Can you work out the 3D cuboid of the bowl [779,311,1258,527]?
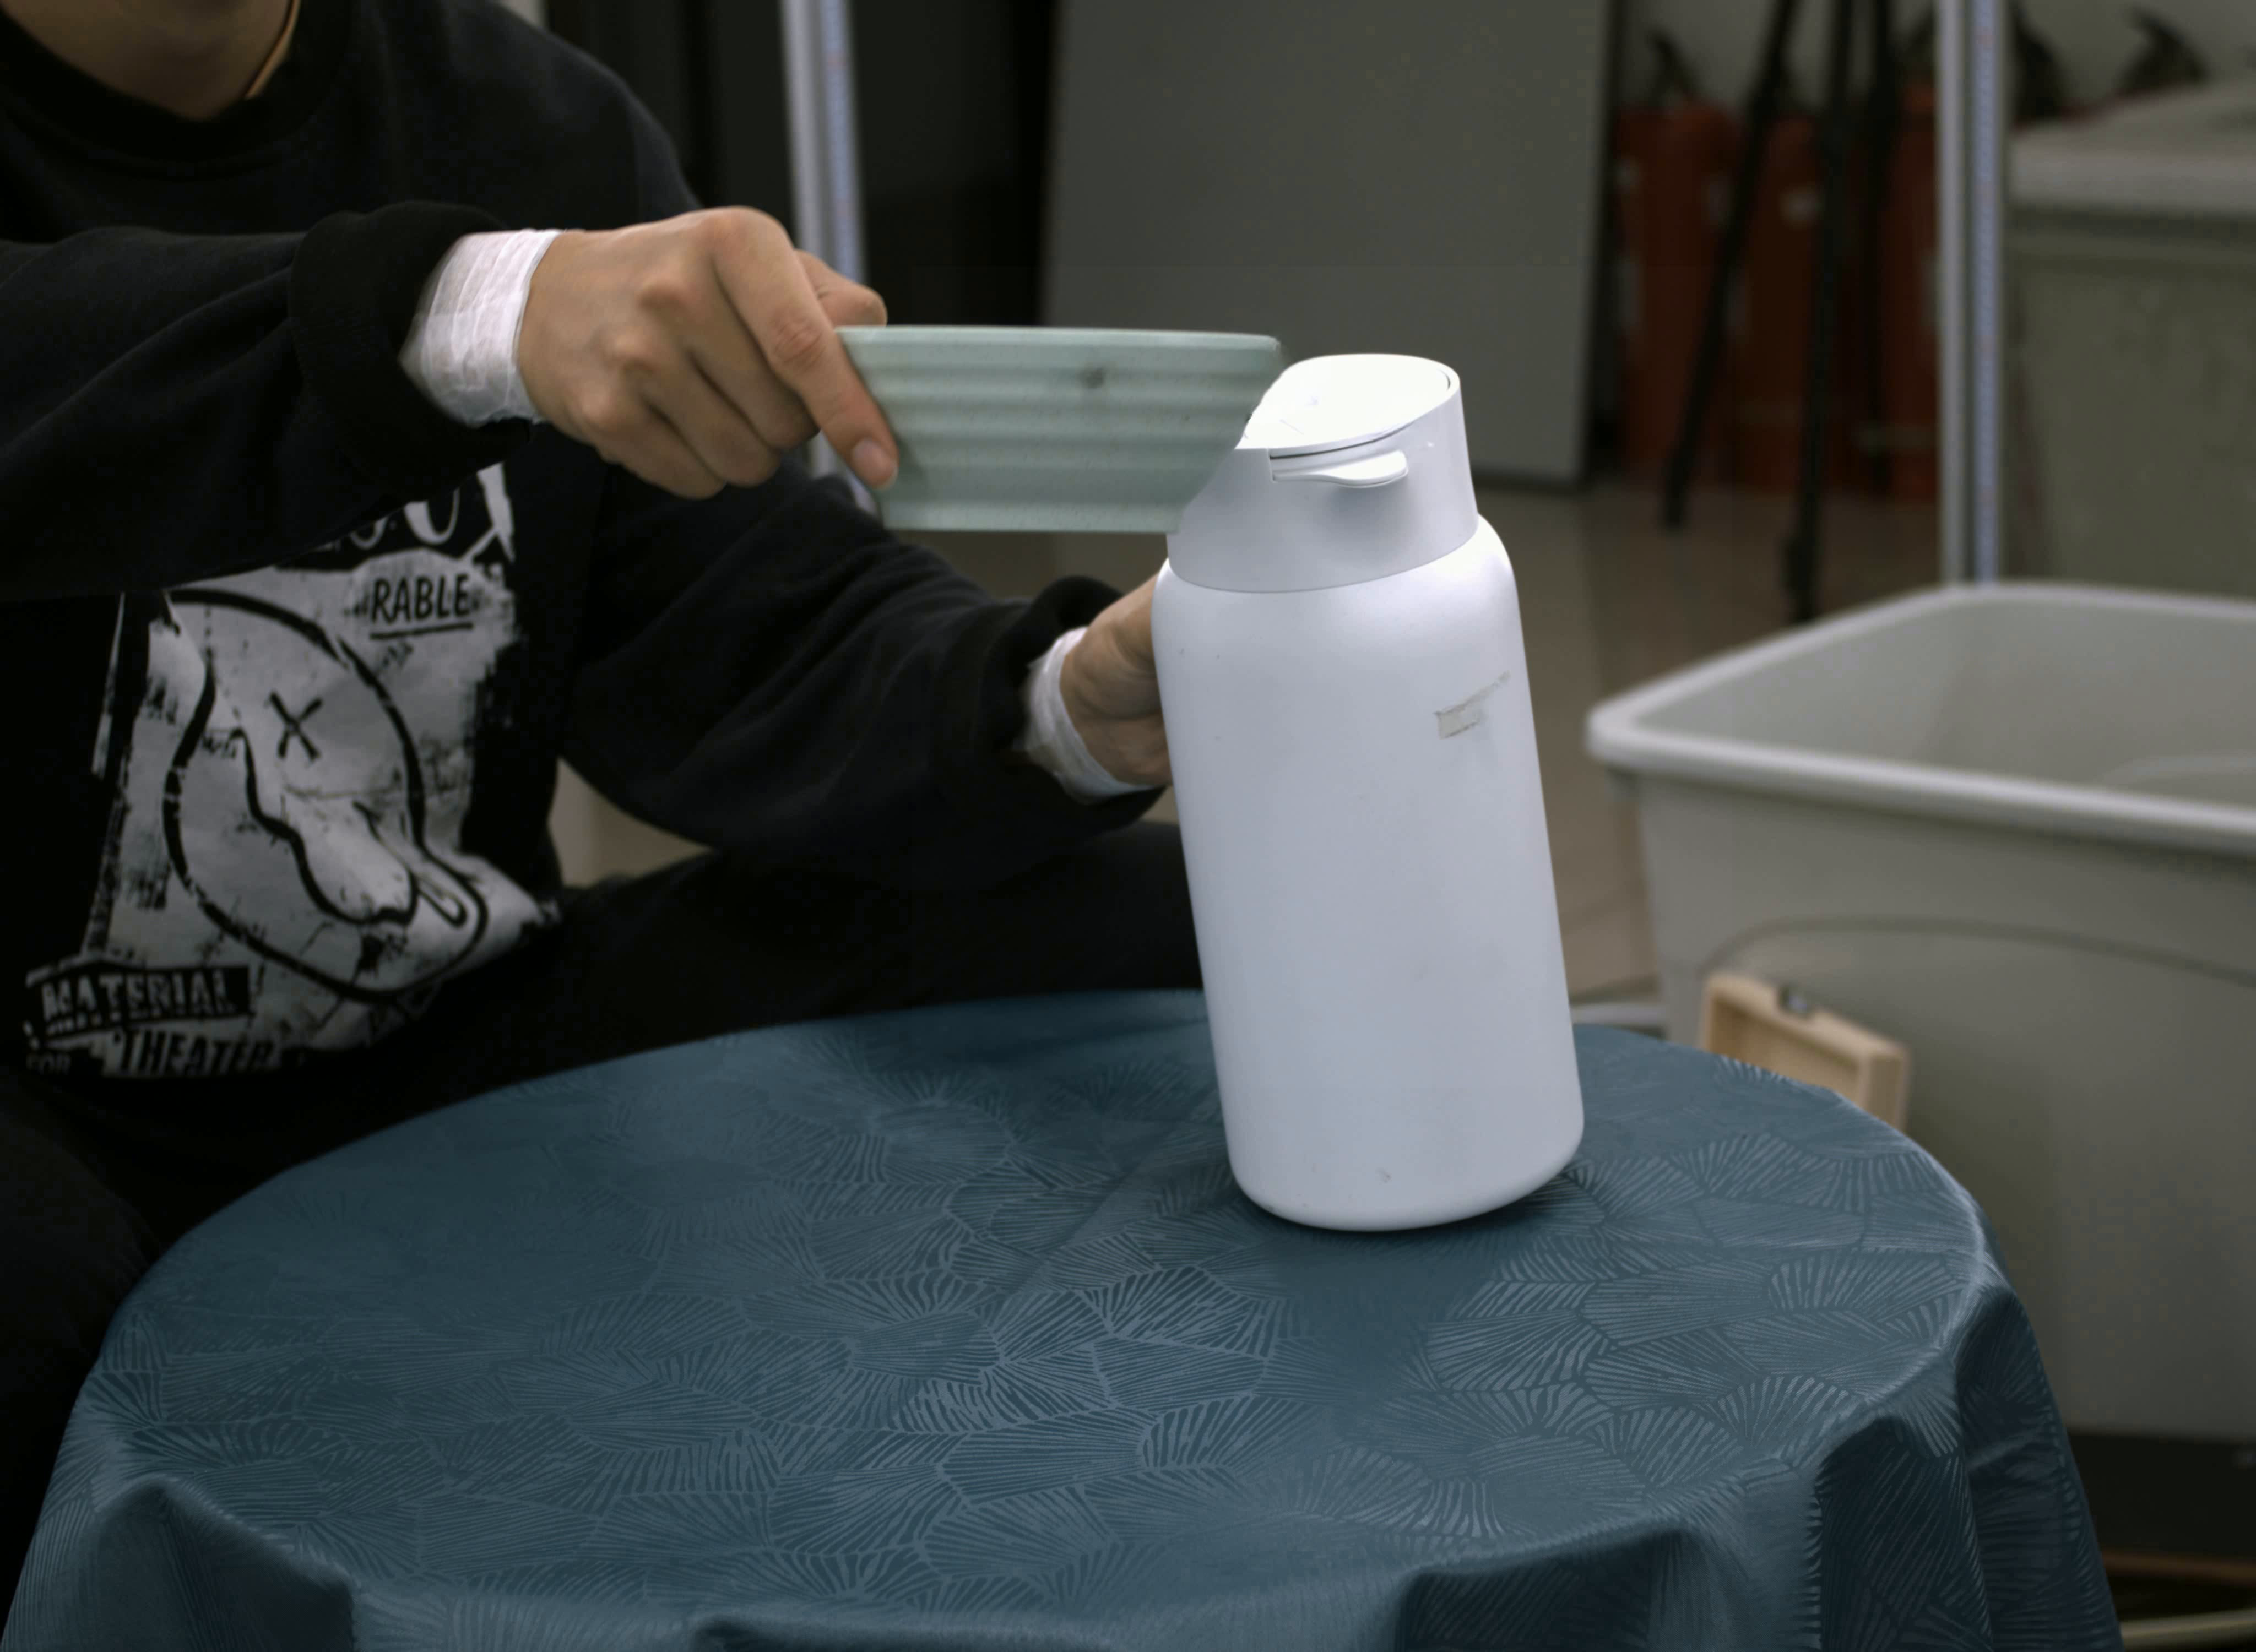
[{"bbox_3d":[-0.032,-0.118,1.573,0.149,0.059,0.151,1,4,-1],"label":"bowl"}]

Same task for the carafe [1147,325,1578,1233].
[{"bbox_3d":[0.065,-0.018,1.732,0.122,0.271,0.174,-16,20,-14],"label":"carafe"}]
